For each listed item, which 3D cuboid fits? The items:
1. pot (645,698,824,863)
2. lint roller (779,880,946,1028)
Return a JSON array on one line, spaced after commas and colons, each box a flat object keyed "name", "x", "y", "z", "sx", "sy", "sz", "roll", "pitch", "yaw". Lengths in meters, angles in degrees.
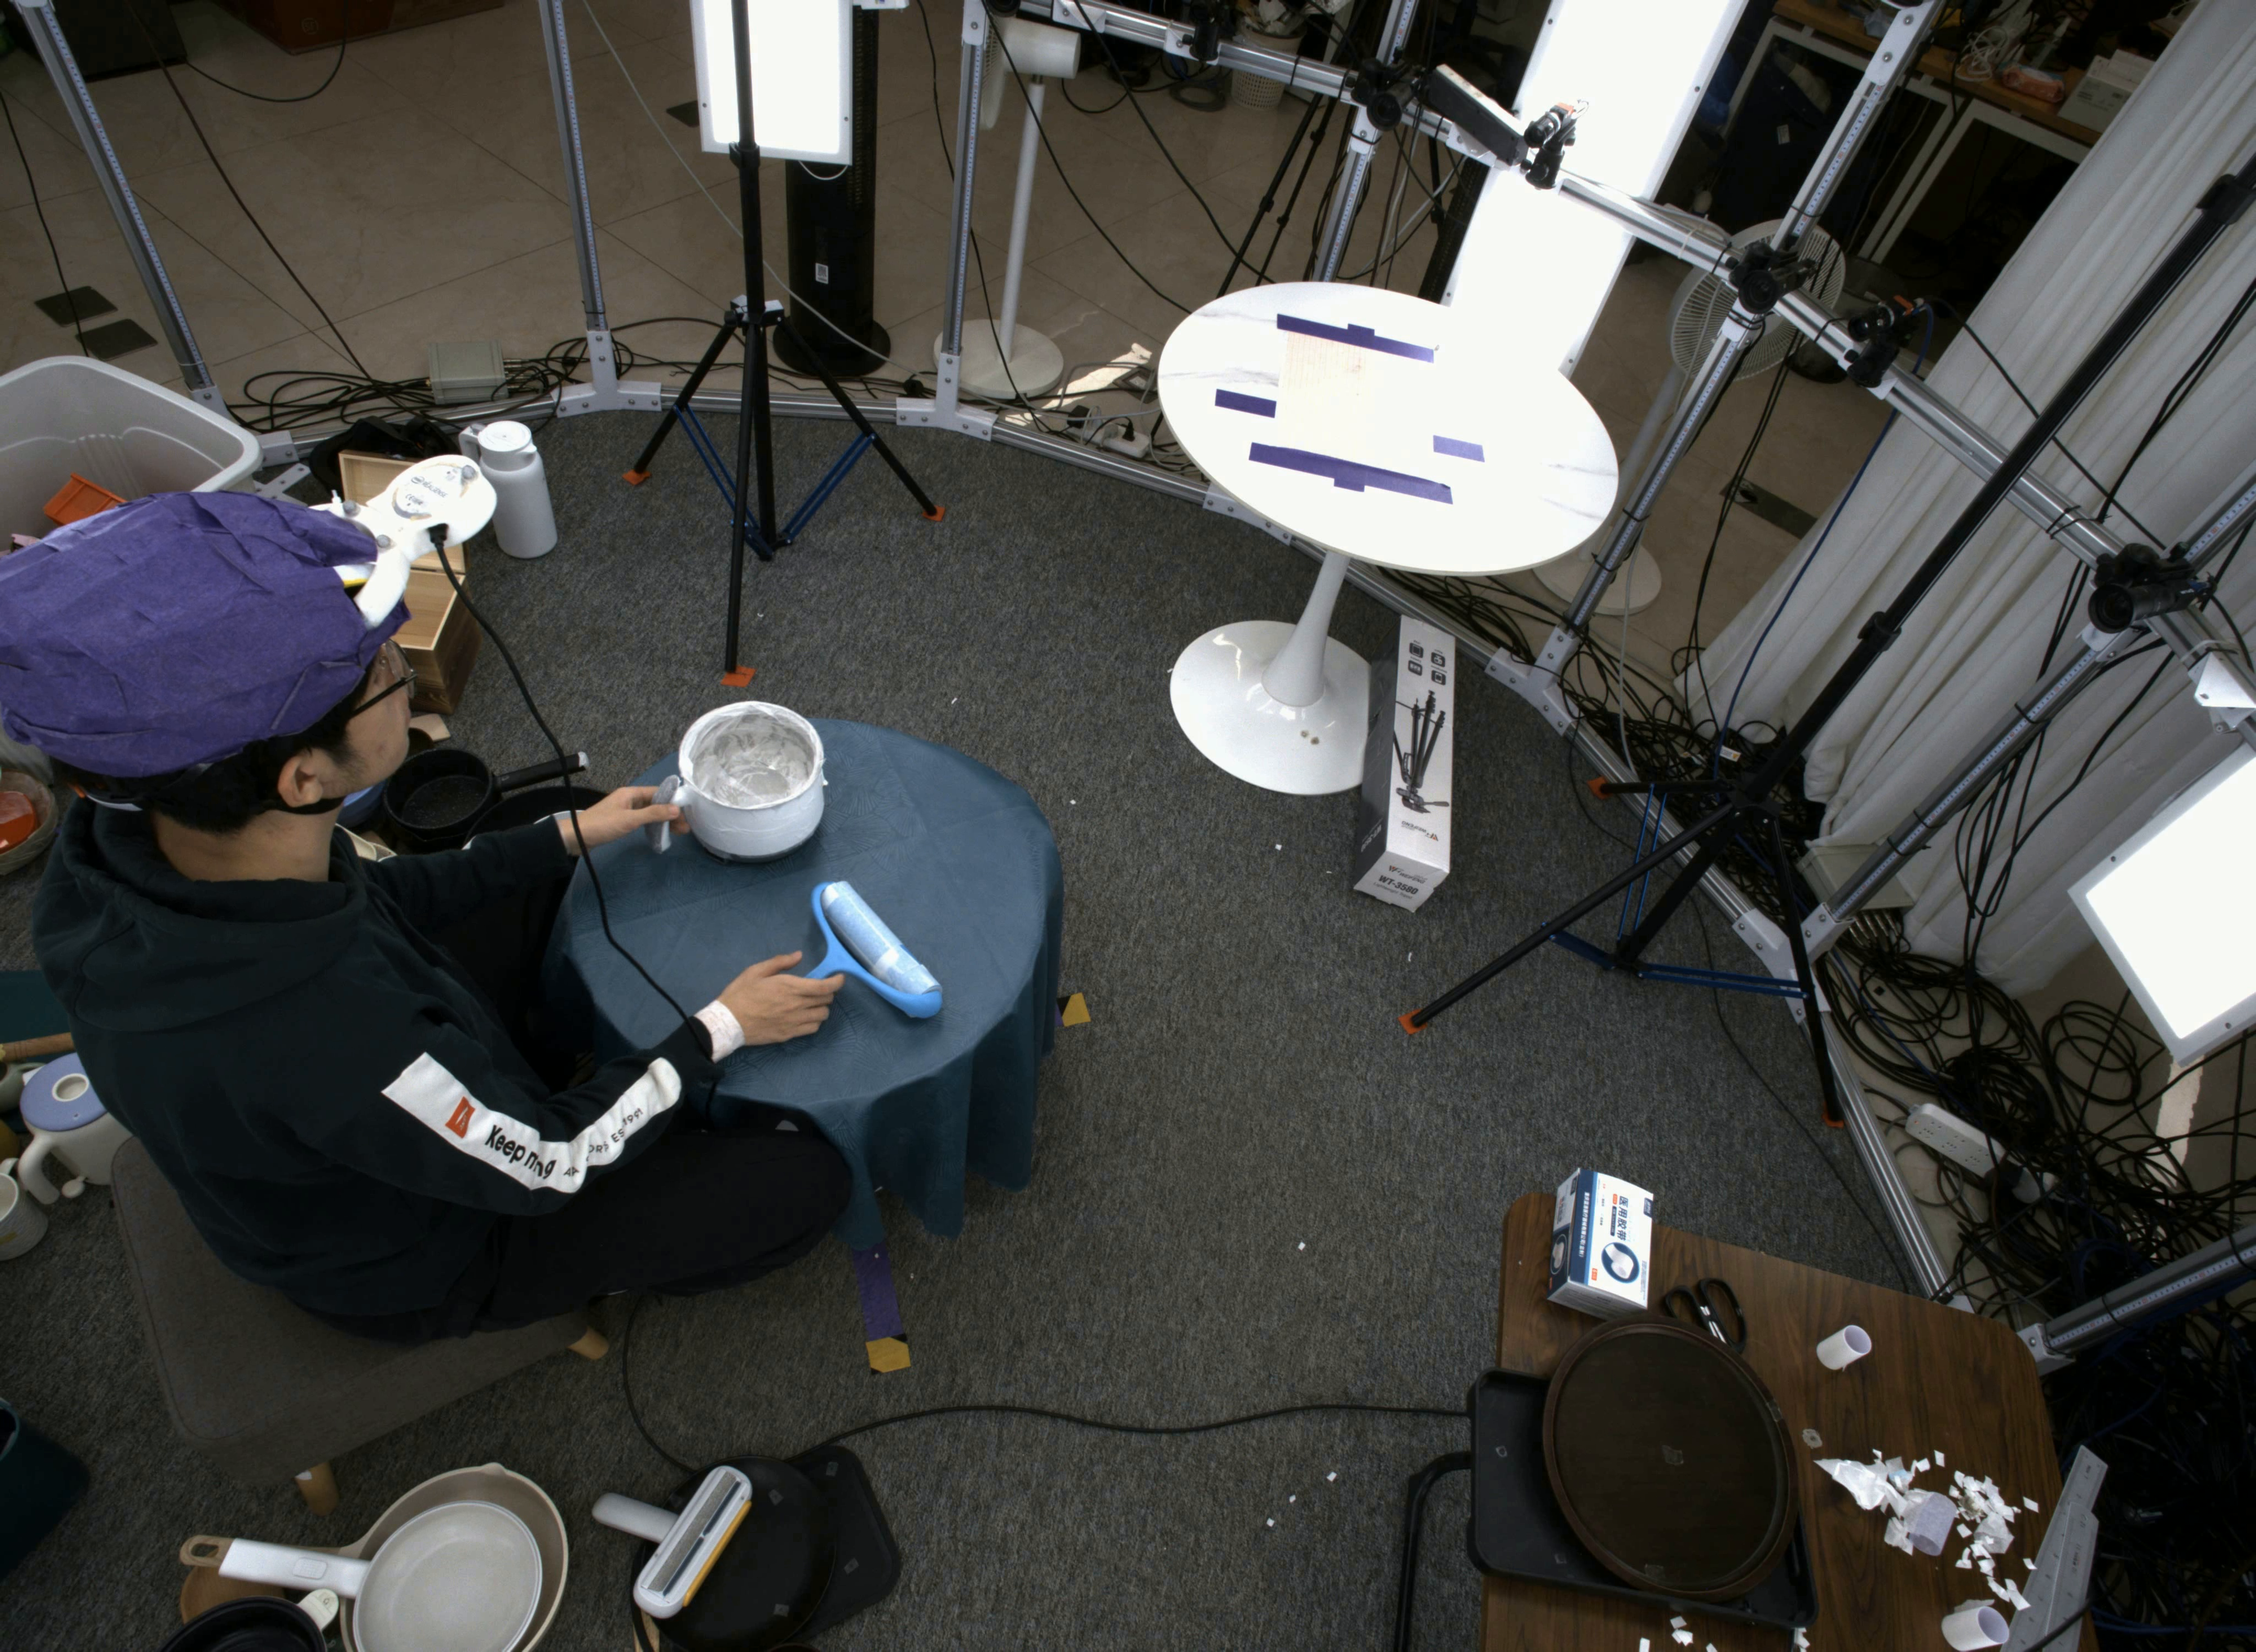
[{"name": "pot", "x": -0.505, "y": -0.046, "z": 1.651, "sx": 0.235, "sy": 0.139, "sz": 0.174, "roll": -23, "pitch": 62, "yaw": -30}, {"name": "lint roller", "x": -0.349, "y": 0.176, "z": 1.584, "sx": 0.224, "sy": 0.069, "sz": 0.180, "roll": 42, "pitch": 54, "yaw": 14}]
